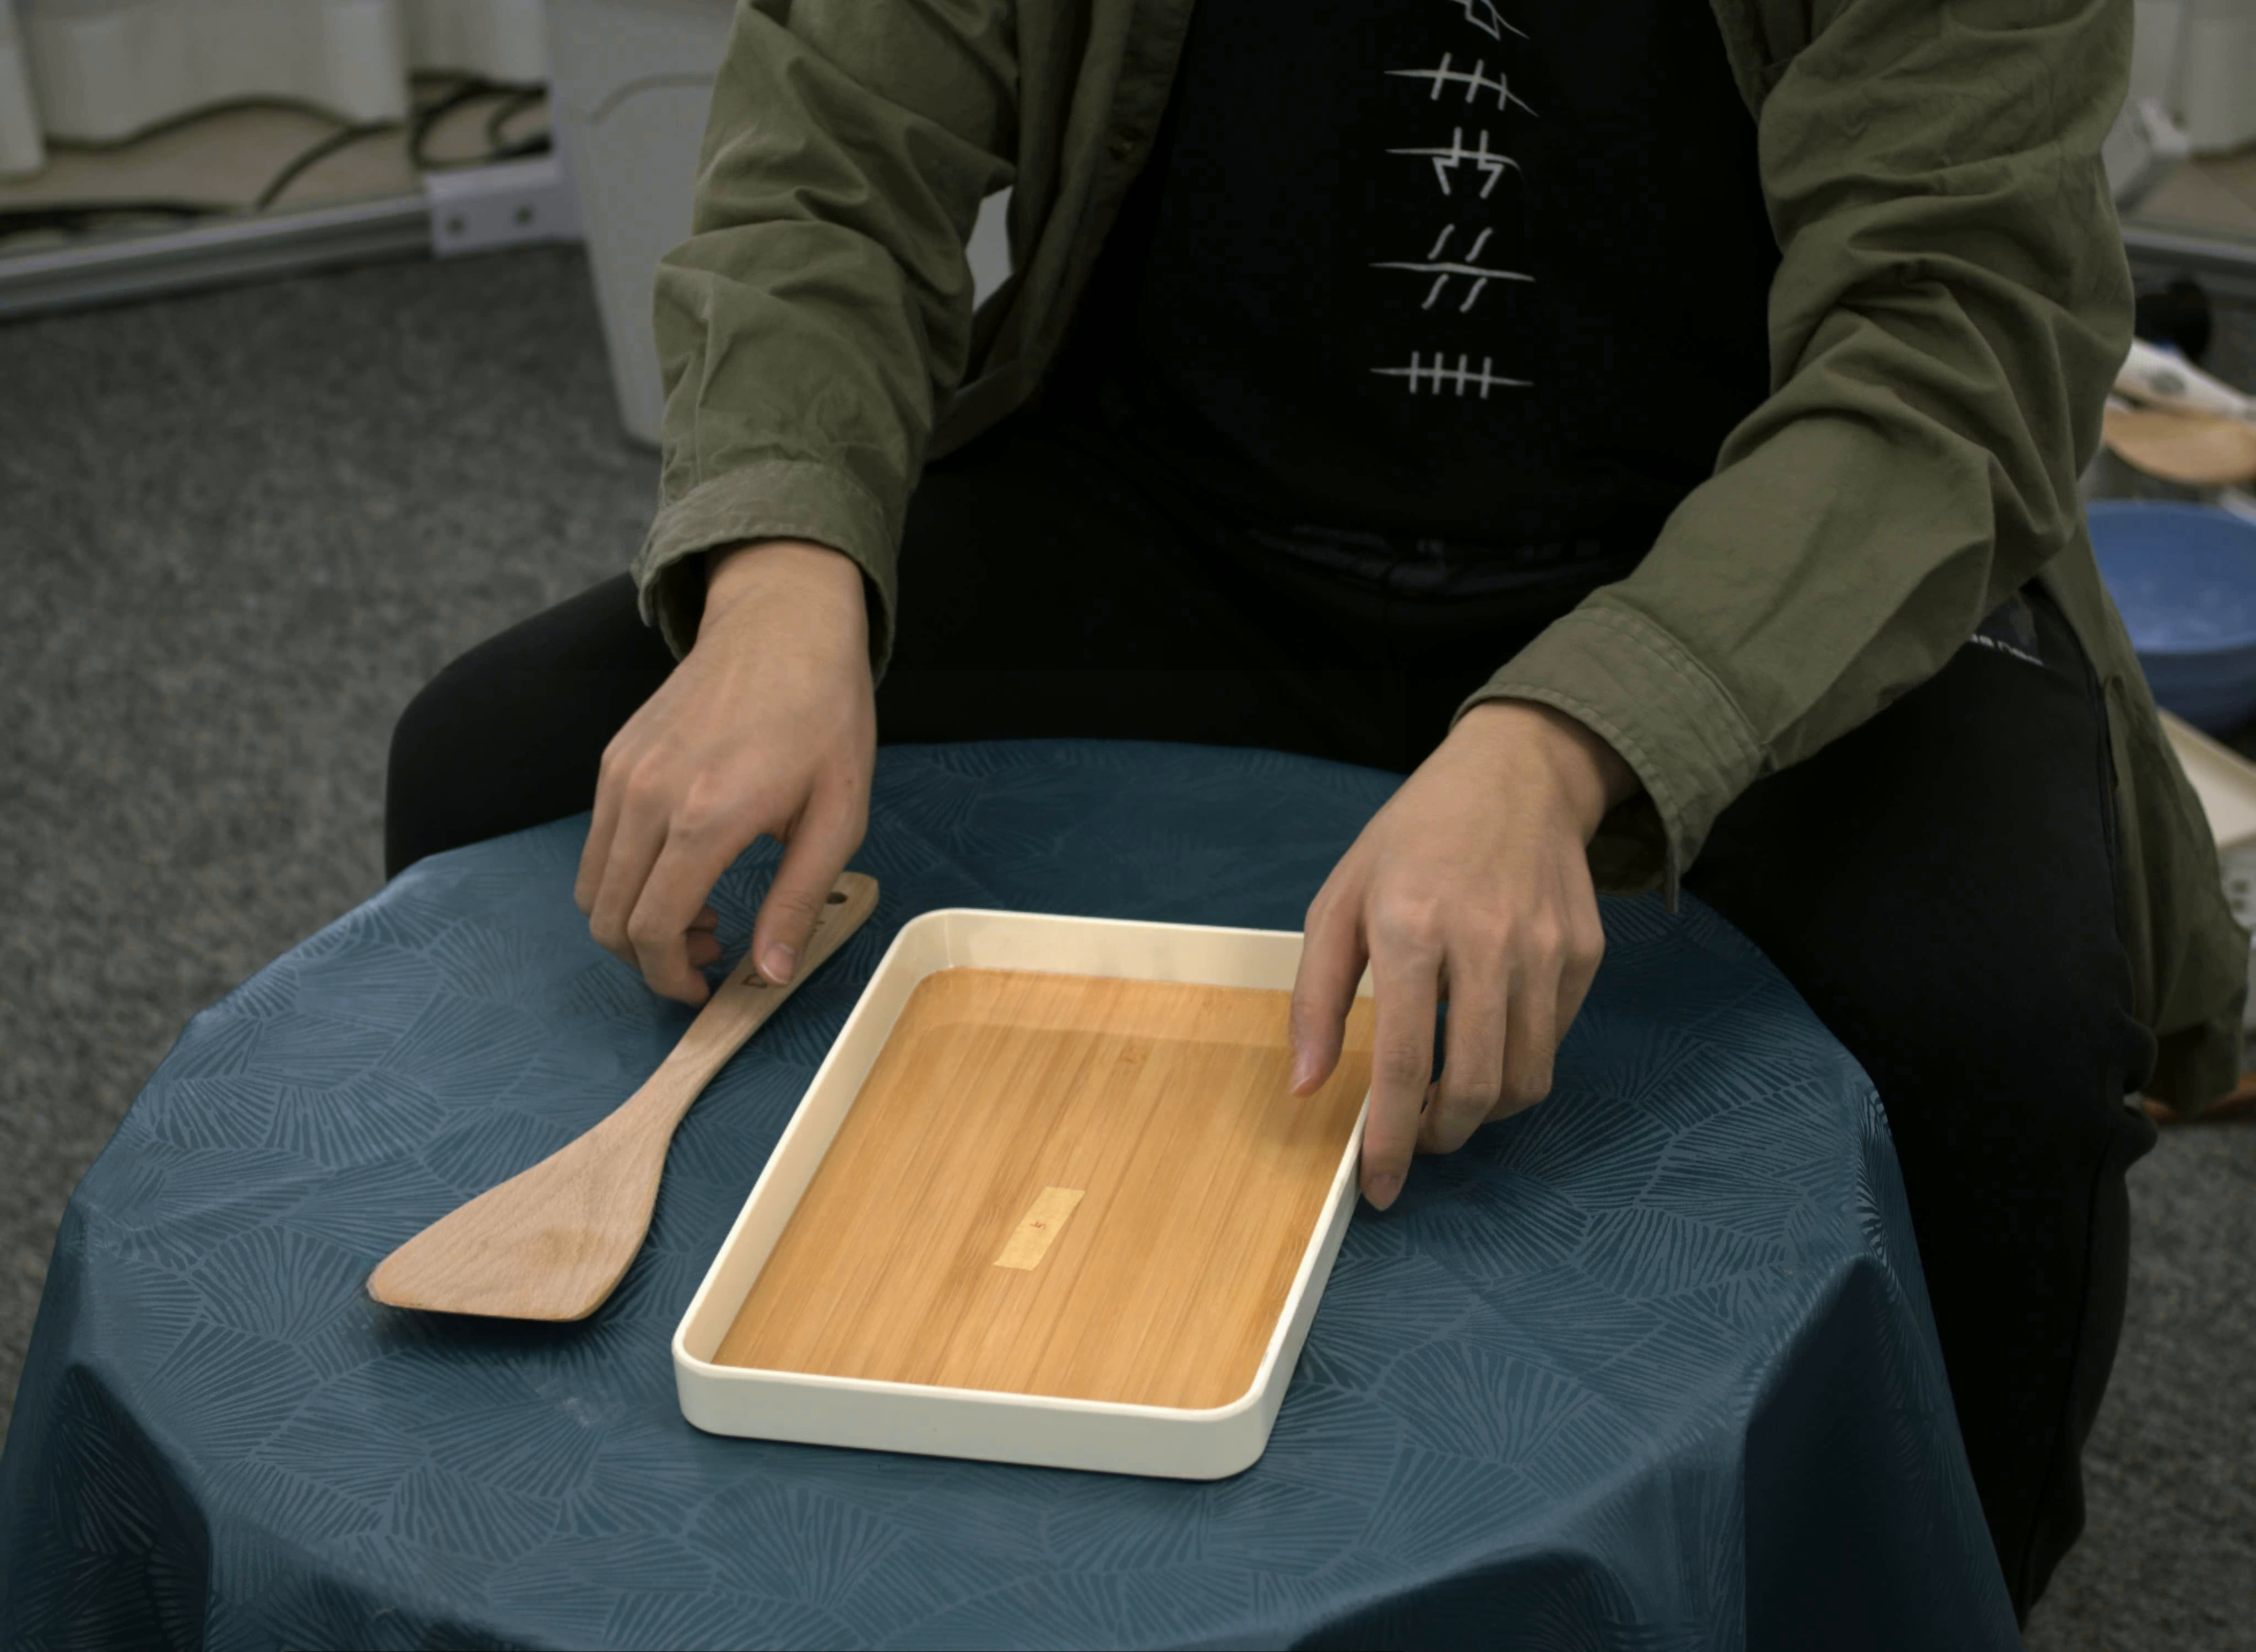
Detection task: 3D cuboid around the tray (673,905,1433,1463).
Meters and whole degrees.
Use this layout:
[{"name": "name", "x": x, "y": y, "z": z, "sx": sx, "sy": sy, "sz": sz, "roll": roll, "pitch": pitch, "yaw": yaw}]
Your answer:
[{"name": "tray", "x": -0.018, "y": 0.112, "z": 1.847, "sx": 0.190, "sy": 0.027, "sz": 0.305, "roll": 4, "pitch": 27, "yaw": 14}]

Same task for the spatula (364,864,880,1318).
[{"name": "spatula", "x": -0.155, "y": 0.087, "z": 1.921, "sx": 0.079, "sy": 0.016, "sz": 0.333, "roll": 8, "pitch": 29, "yaw": 19}]
